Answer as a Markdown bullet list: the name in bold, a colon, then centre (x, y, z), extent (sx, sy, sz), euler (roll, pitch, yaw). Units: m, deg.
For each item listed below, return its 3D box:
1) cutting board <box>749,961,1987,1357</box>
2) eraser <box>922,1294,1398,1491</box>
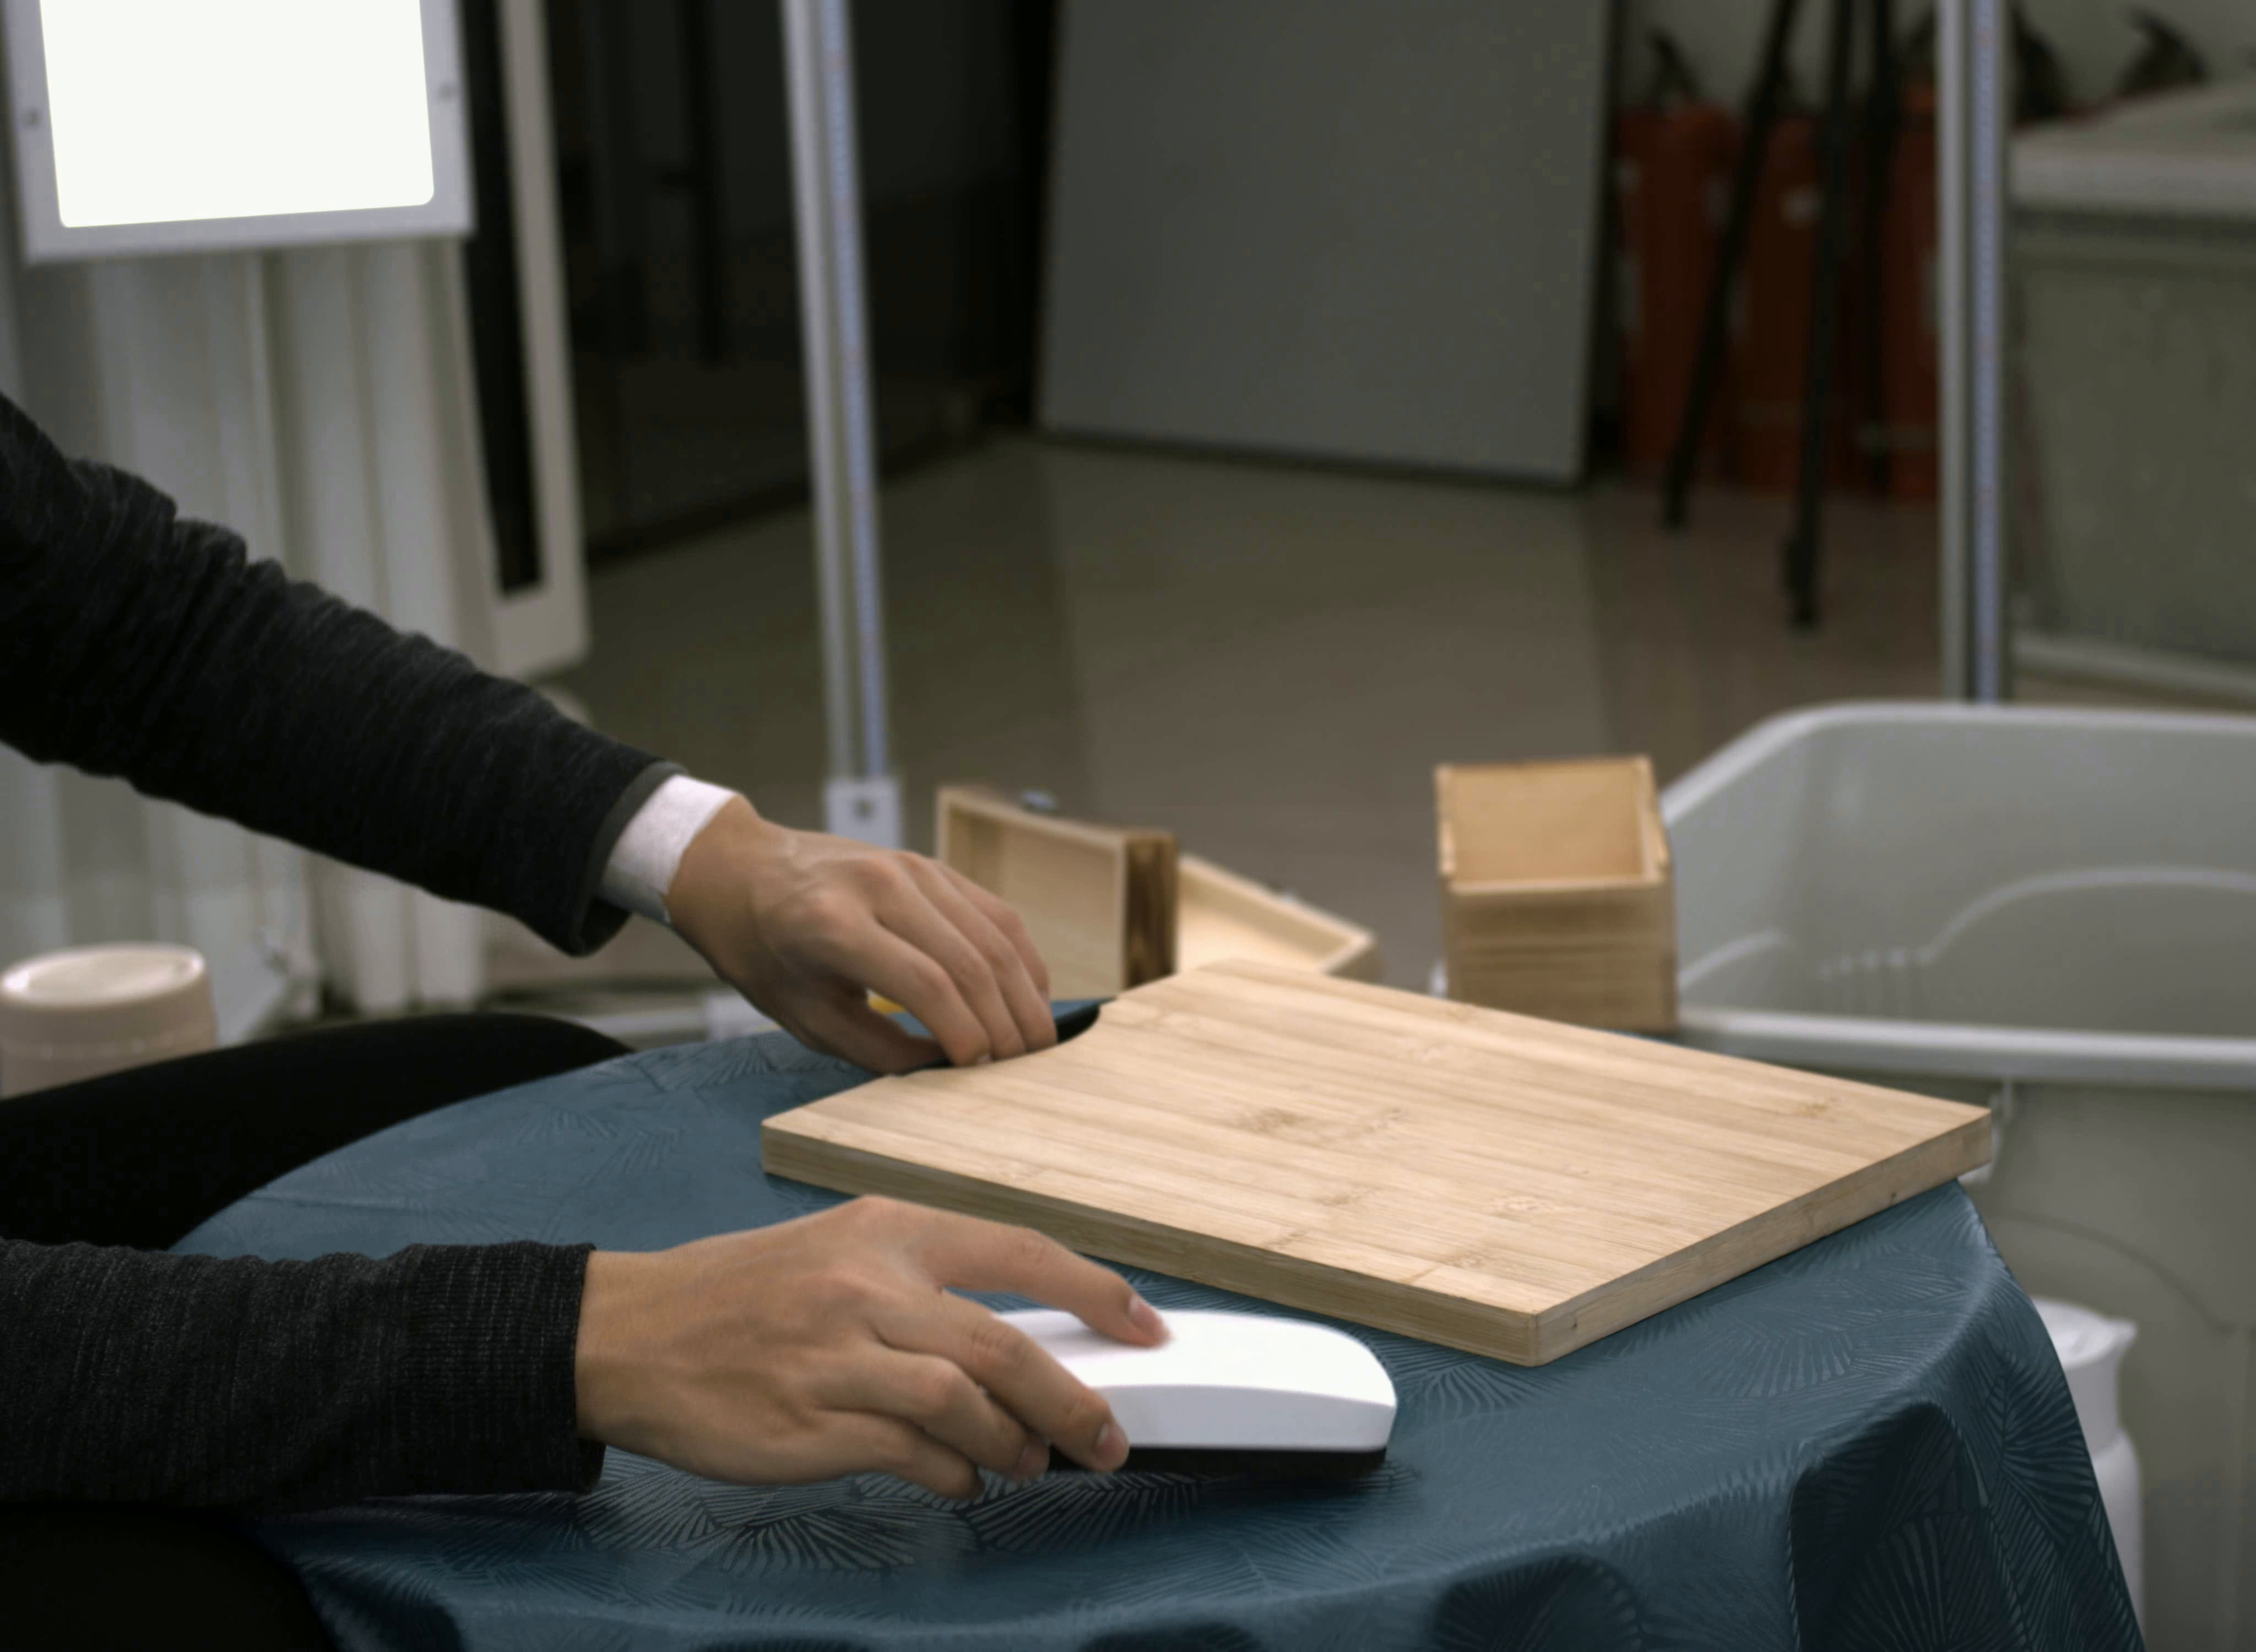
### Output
- **cutting board**: centre (0.075, 0.104, 1.781), extent (0.352, 0.024, 0.245), euler (9, 19, 43)
- **eraser**: centre (0.008, 0.158, 1.498), extent (0.129, 0.035, 0.064), euler (5, 14, -11)
